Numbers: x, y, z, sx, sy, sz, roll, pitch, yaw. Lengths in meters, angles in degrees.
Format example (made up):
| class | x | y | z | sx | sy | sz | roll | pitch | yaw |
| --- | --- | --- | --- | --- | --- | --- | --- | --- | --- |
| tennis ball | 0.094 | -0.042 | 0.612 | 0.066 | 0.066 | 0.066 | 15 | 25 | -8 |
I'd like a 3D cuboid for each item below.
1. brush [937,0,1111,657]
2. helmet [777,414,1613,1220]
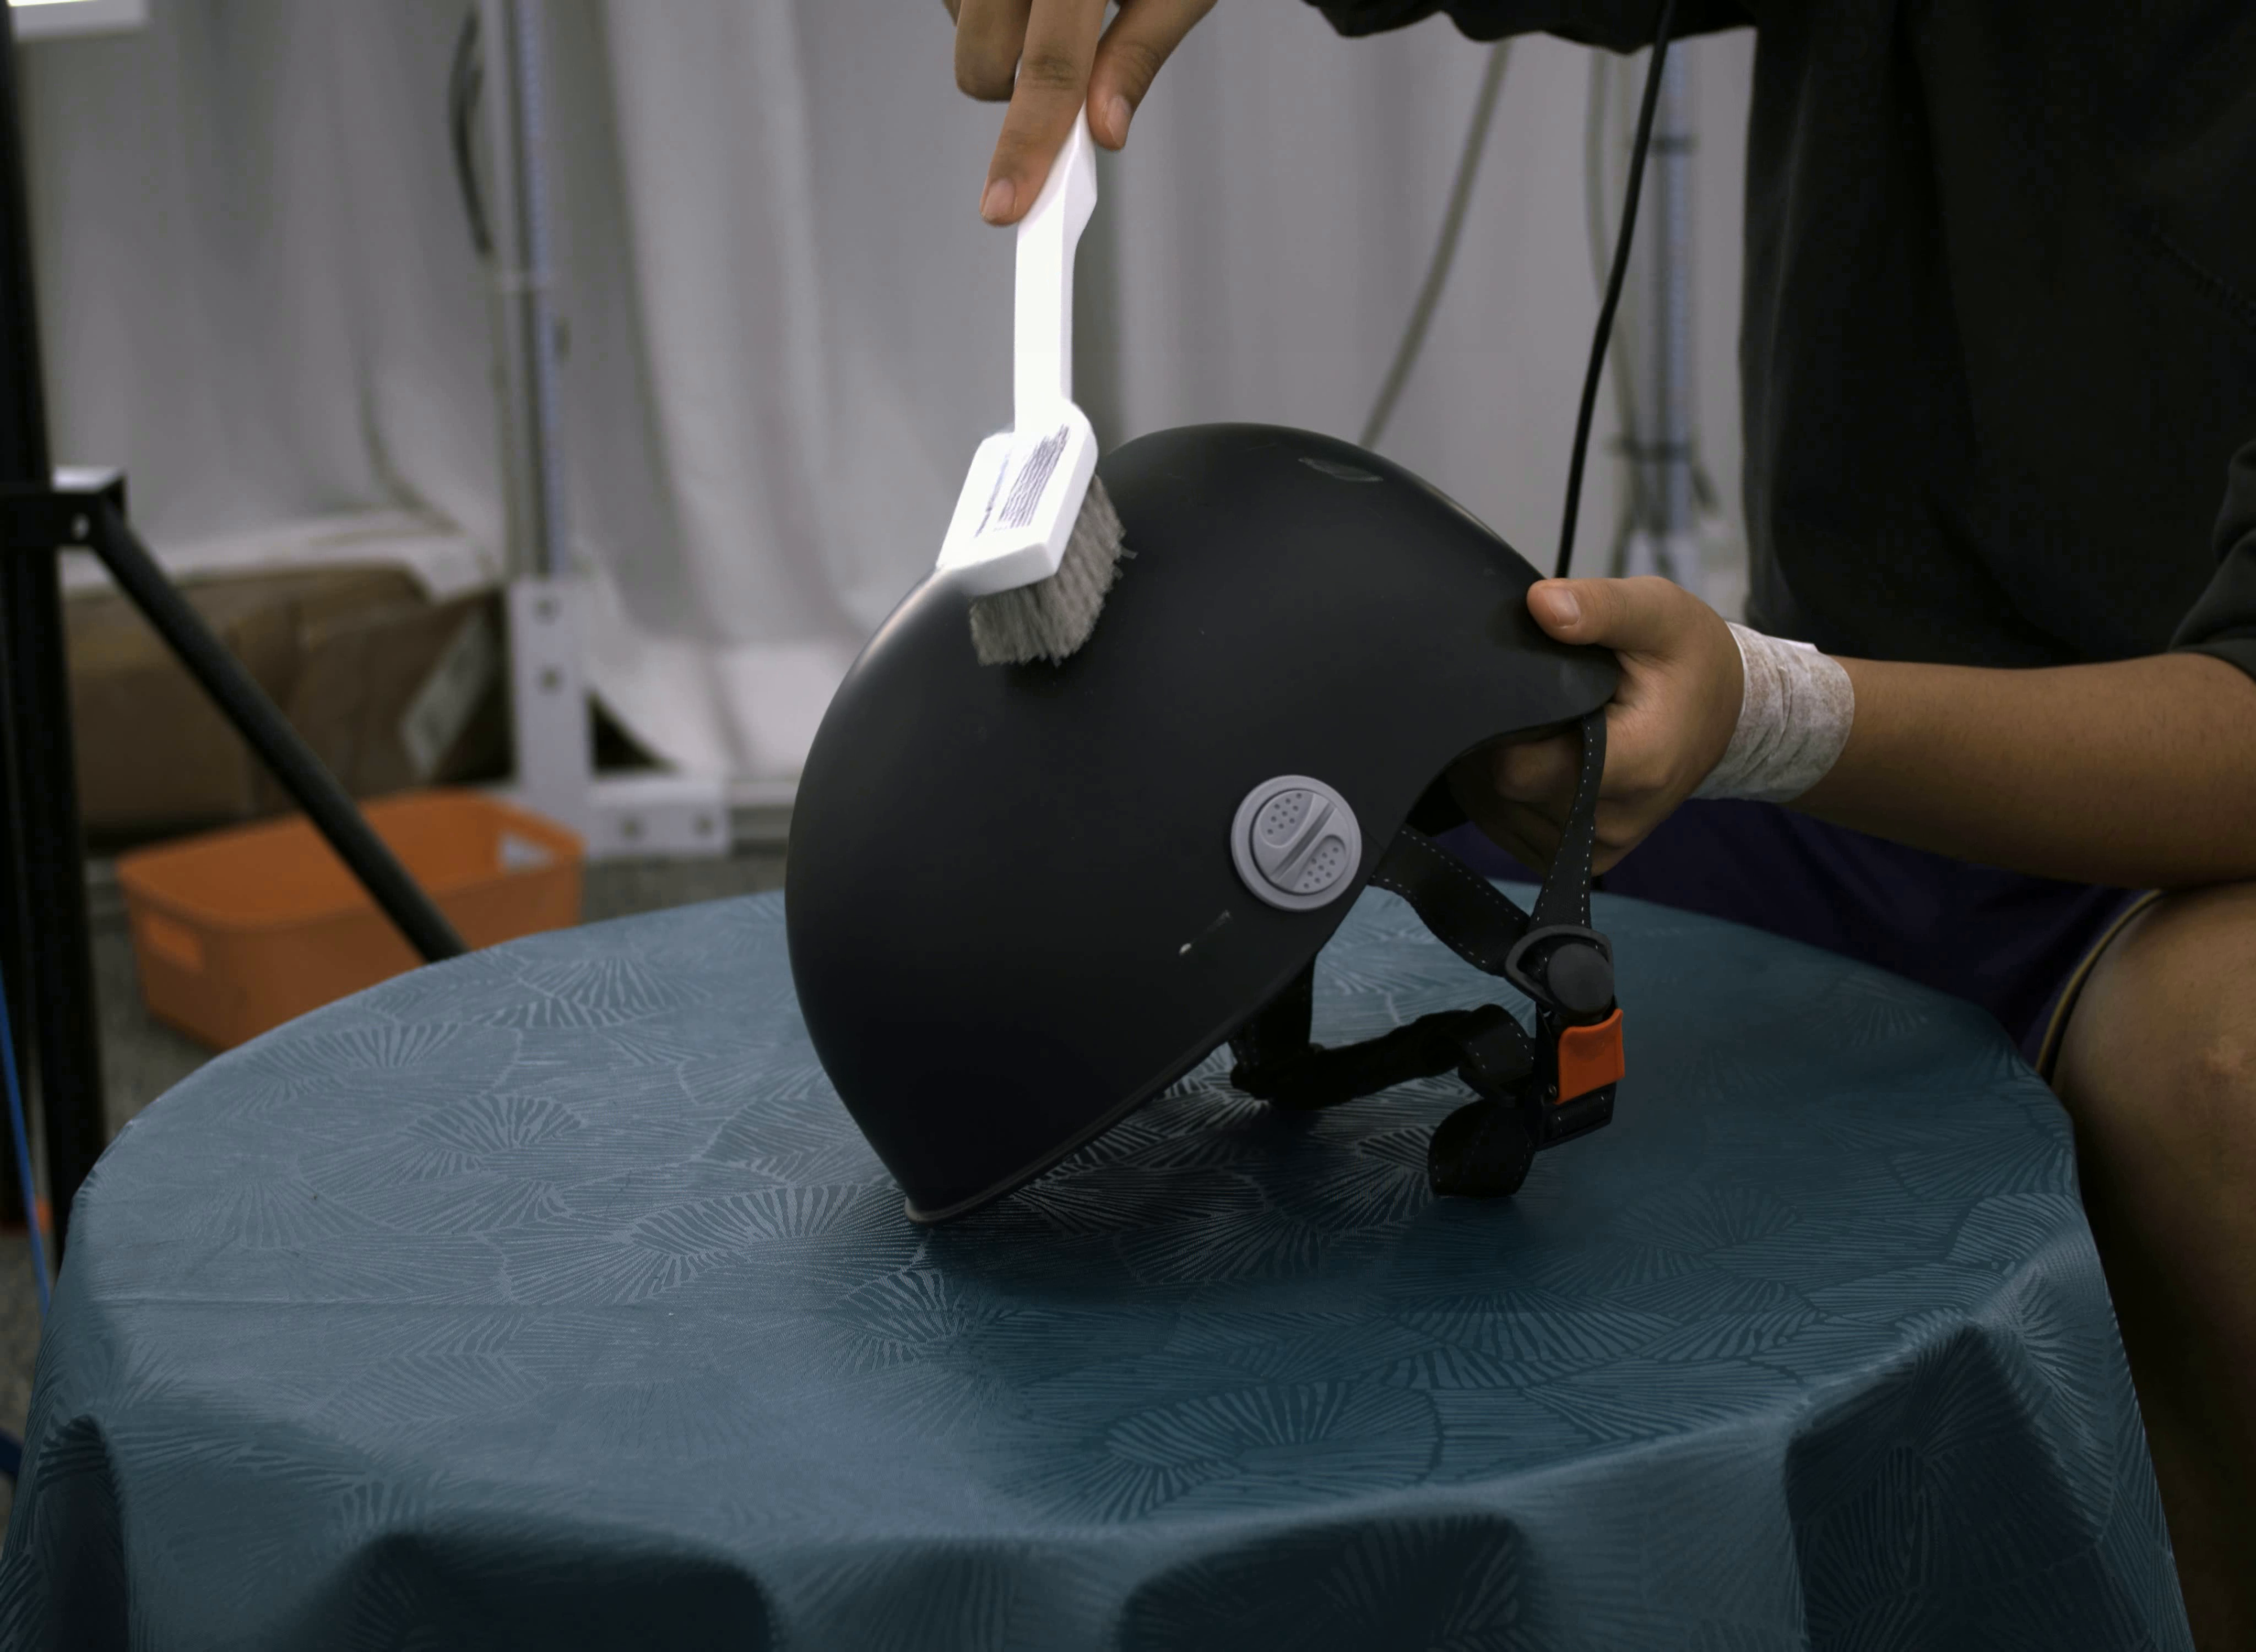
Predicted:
| class | x | y | z | sx | sy | sz | roll | pitch | yaw |
| --- | --- | --- | --- | --- | --- | --- | --- | --- | --- |
| brush | -0.020 | -0.152 | 1.513 | 0.035 | 0.049 | 0.246 | -10 | 53 | 21 |
| helmet | 0.001 | -0.021 | 1.555 | 0.269 | 0.167 | 0.233 | -37 | 4 | -28 |
